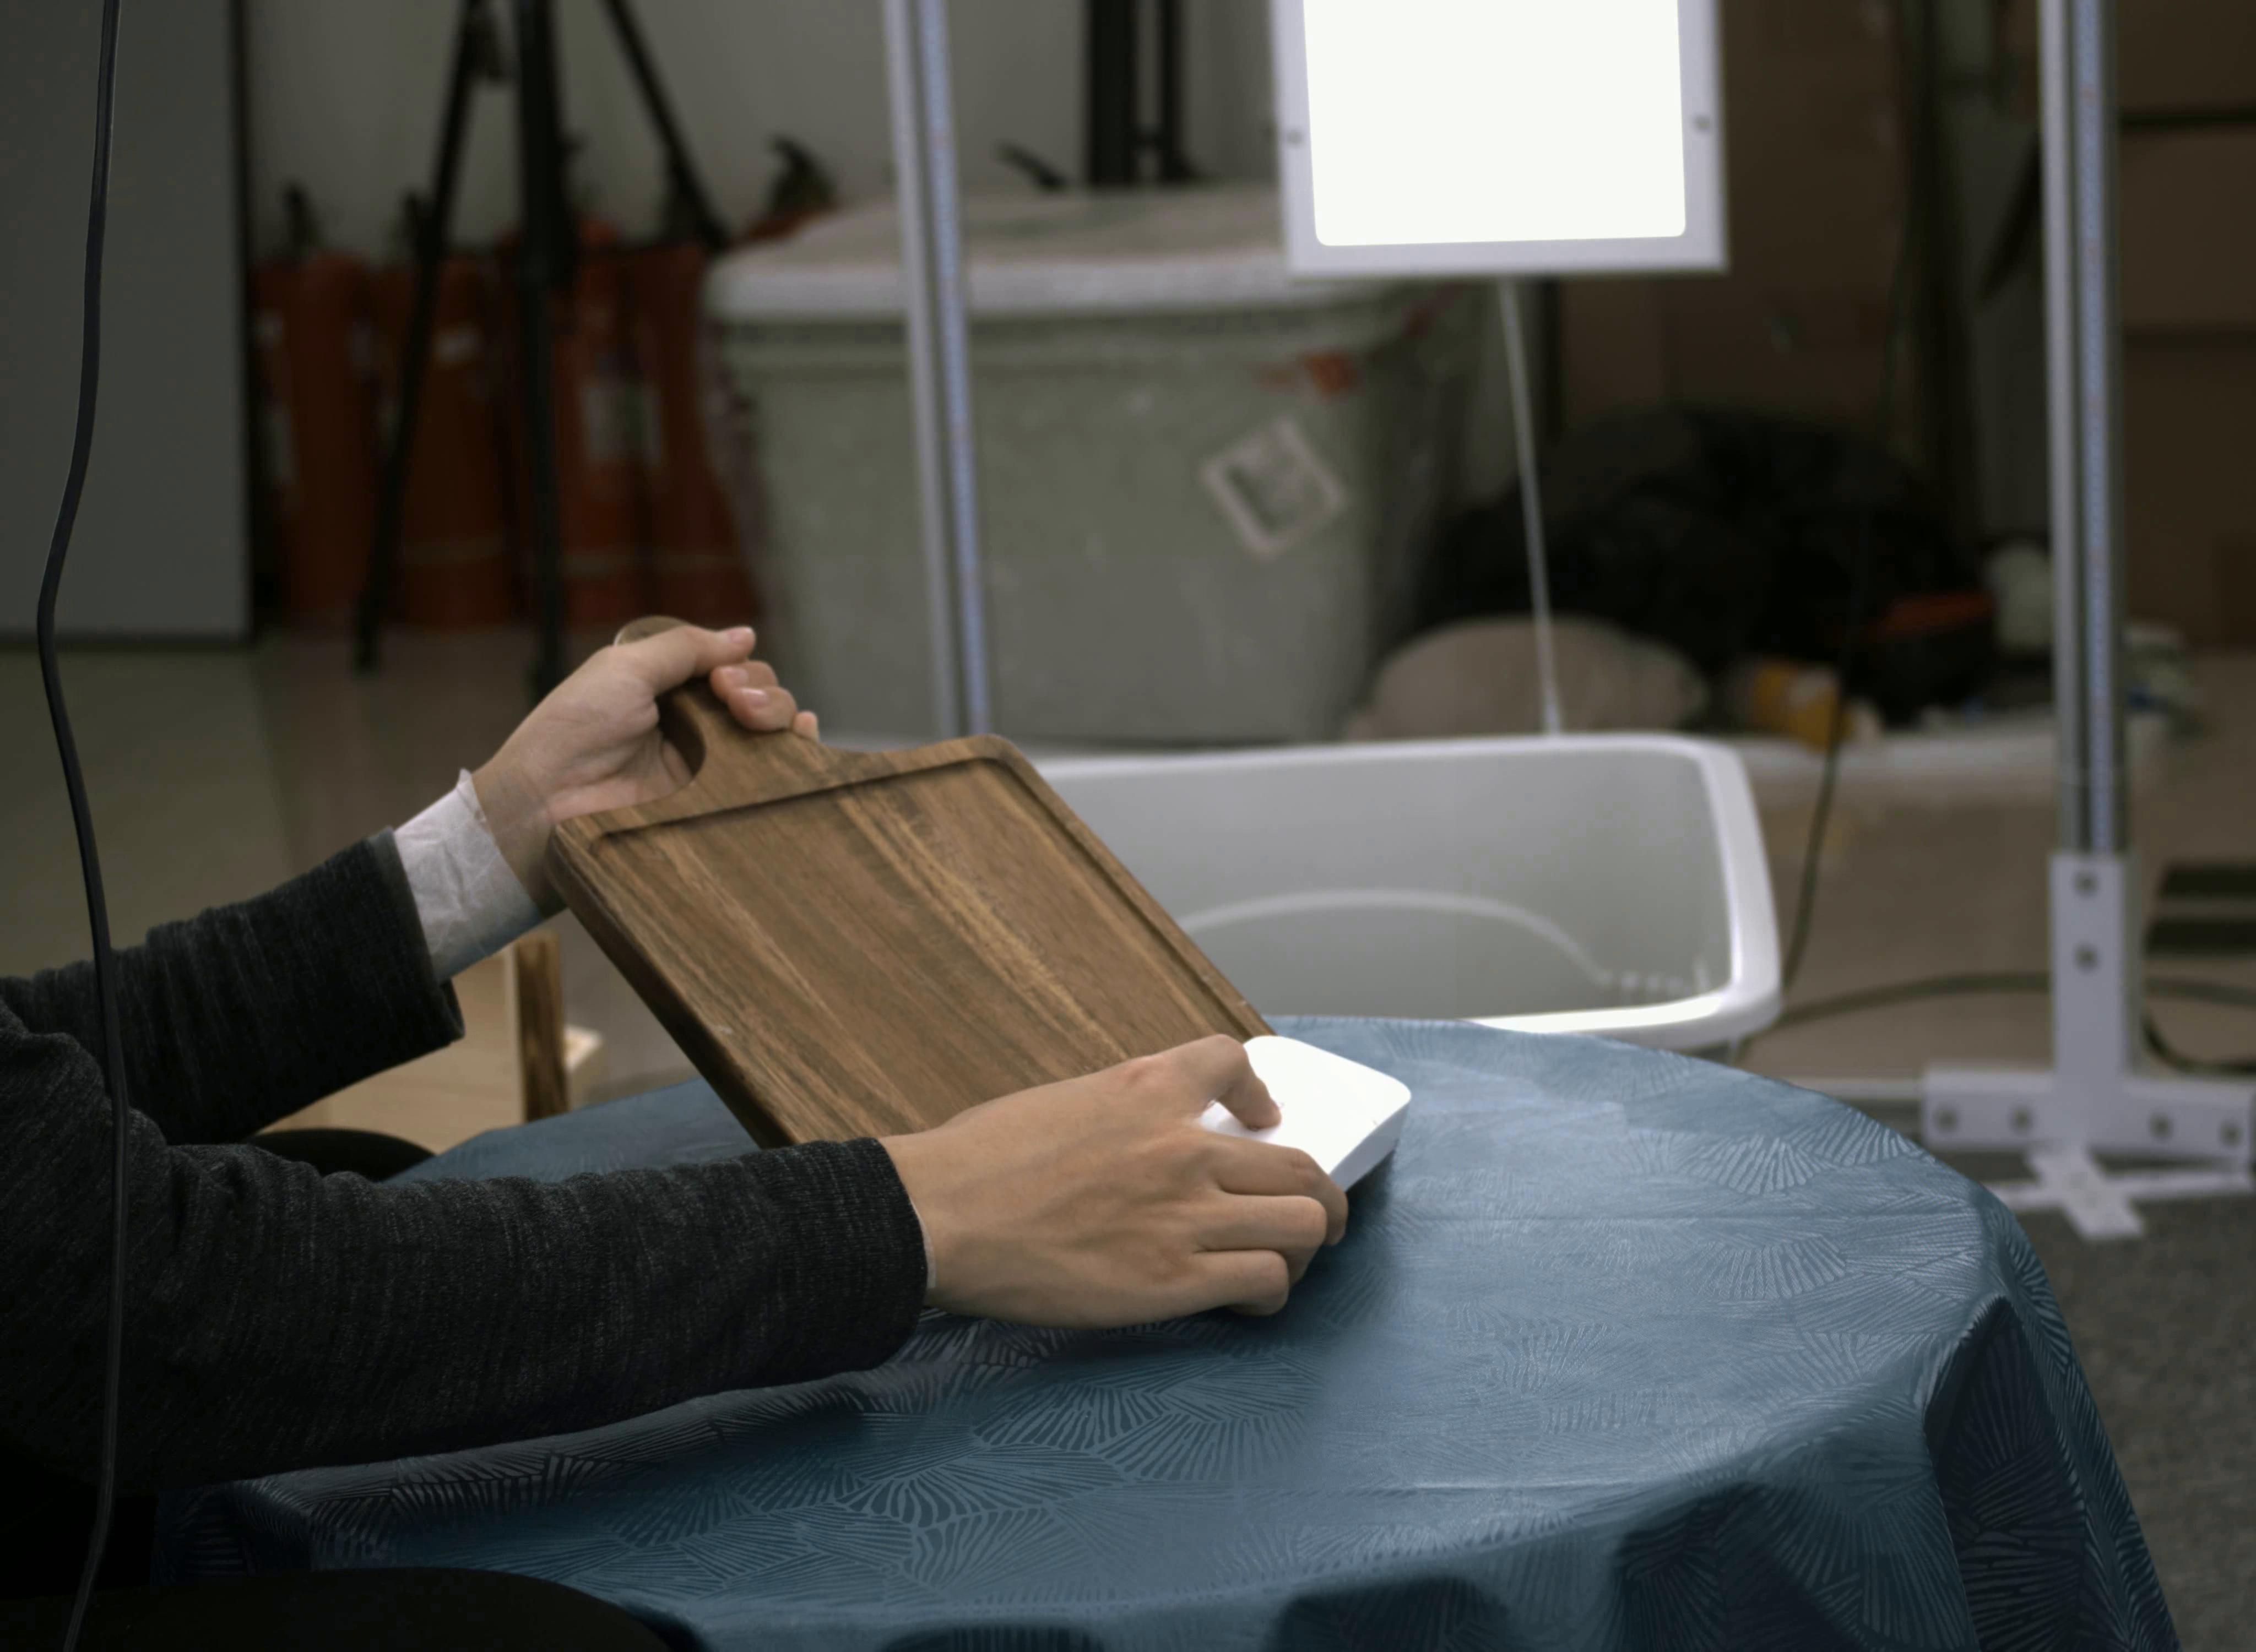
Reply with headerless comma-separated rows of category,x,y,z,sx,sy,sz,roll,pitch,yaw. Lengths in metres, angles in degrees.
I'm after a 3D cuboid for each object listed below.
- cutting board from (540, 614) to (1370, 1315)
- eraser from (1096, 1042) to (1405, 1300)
cutting board,-0.087,0.032,1.932,0.196,0.023,0.356,-13,43,-32
eraser,0.040,0.110,1.823,0.064,0.035,0.128,21,31,23
